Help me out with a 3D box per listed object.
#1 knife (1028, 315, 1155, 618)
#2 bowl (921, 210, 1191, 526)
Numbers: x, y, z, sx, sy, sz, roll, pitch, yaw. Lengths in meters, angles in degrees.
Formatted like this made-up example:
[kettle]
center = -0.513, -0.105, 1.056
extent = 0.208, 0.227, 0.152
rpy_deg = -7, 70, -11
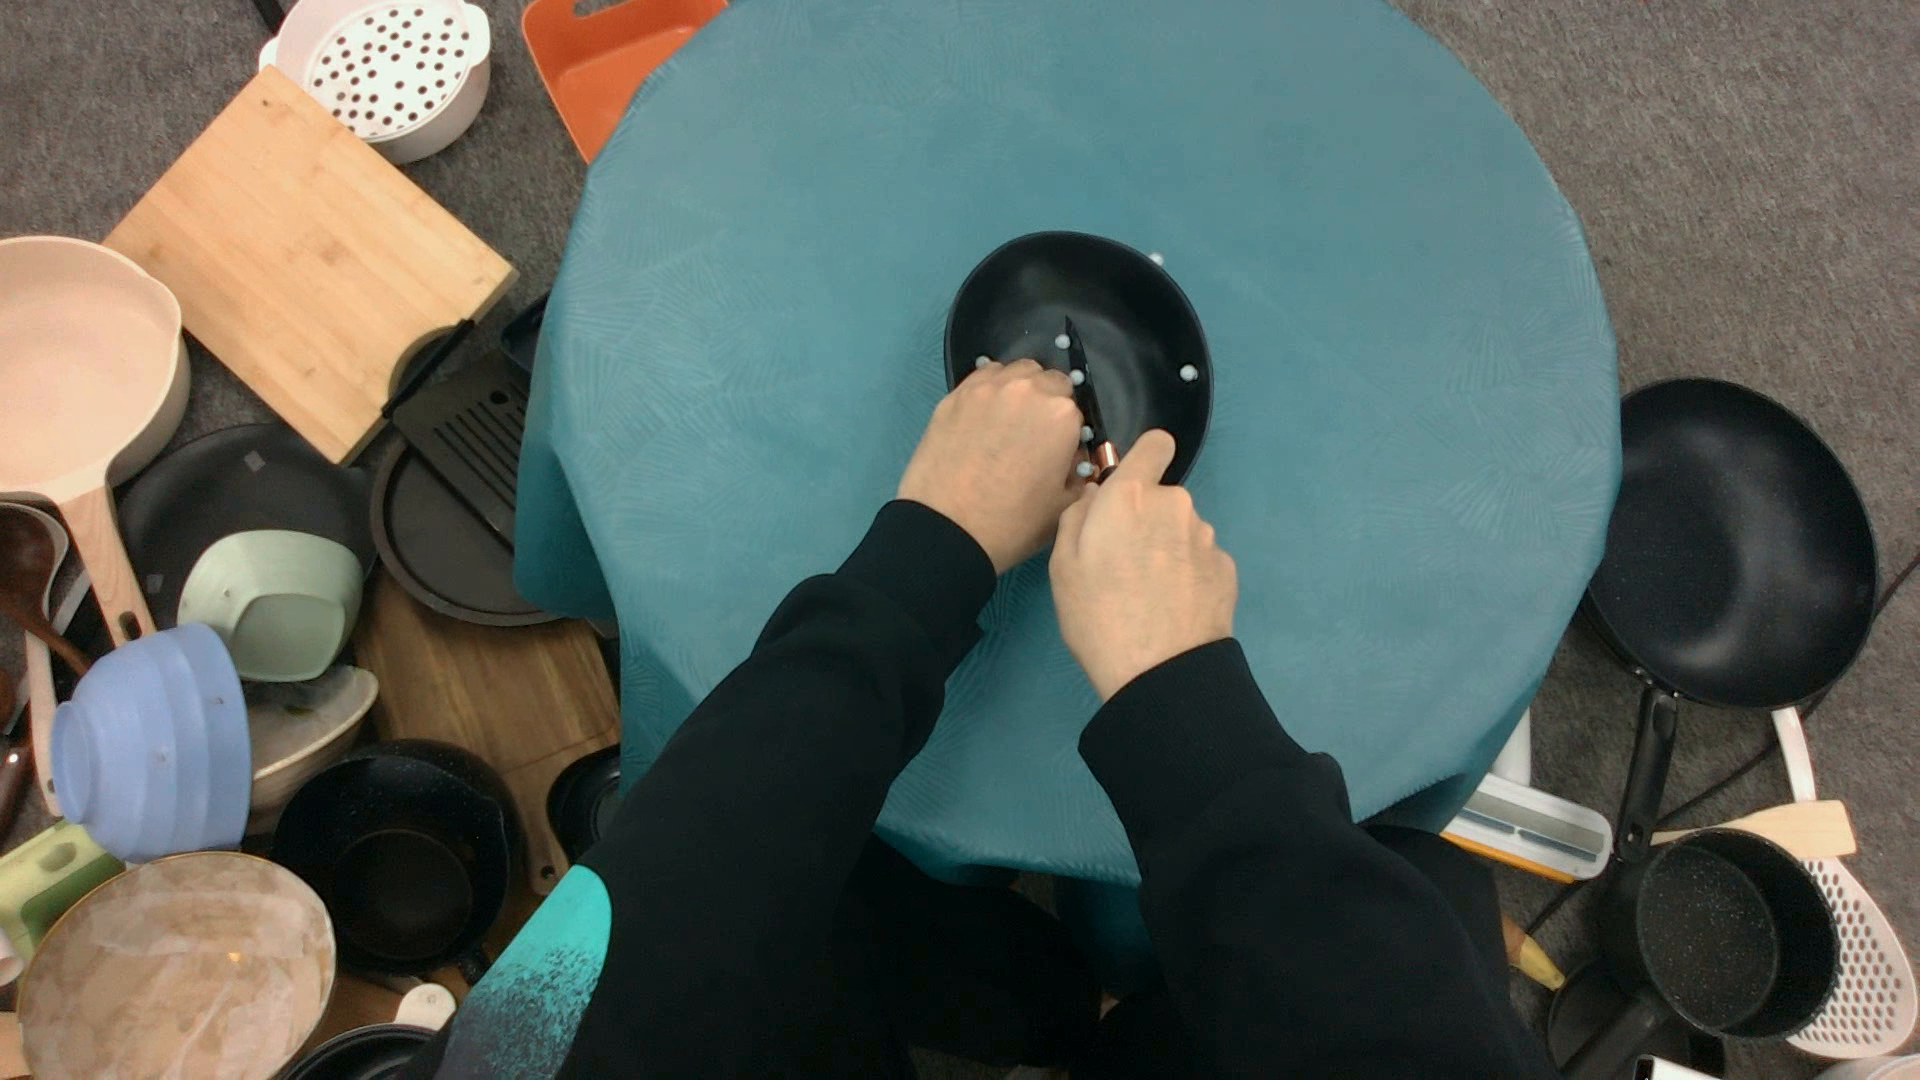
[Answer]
[knife]
center = 0.059, -0.047, 0.672
extent = 0.017, 0.026, 0.226
rpy_deg = 5, 43, -18
[bowl]
center = 0.048, -0.085, 0.723
extent = 0.137, 0.066, 0.170
rpy_deg = -10, 75, -8
